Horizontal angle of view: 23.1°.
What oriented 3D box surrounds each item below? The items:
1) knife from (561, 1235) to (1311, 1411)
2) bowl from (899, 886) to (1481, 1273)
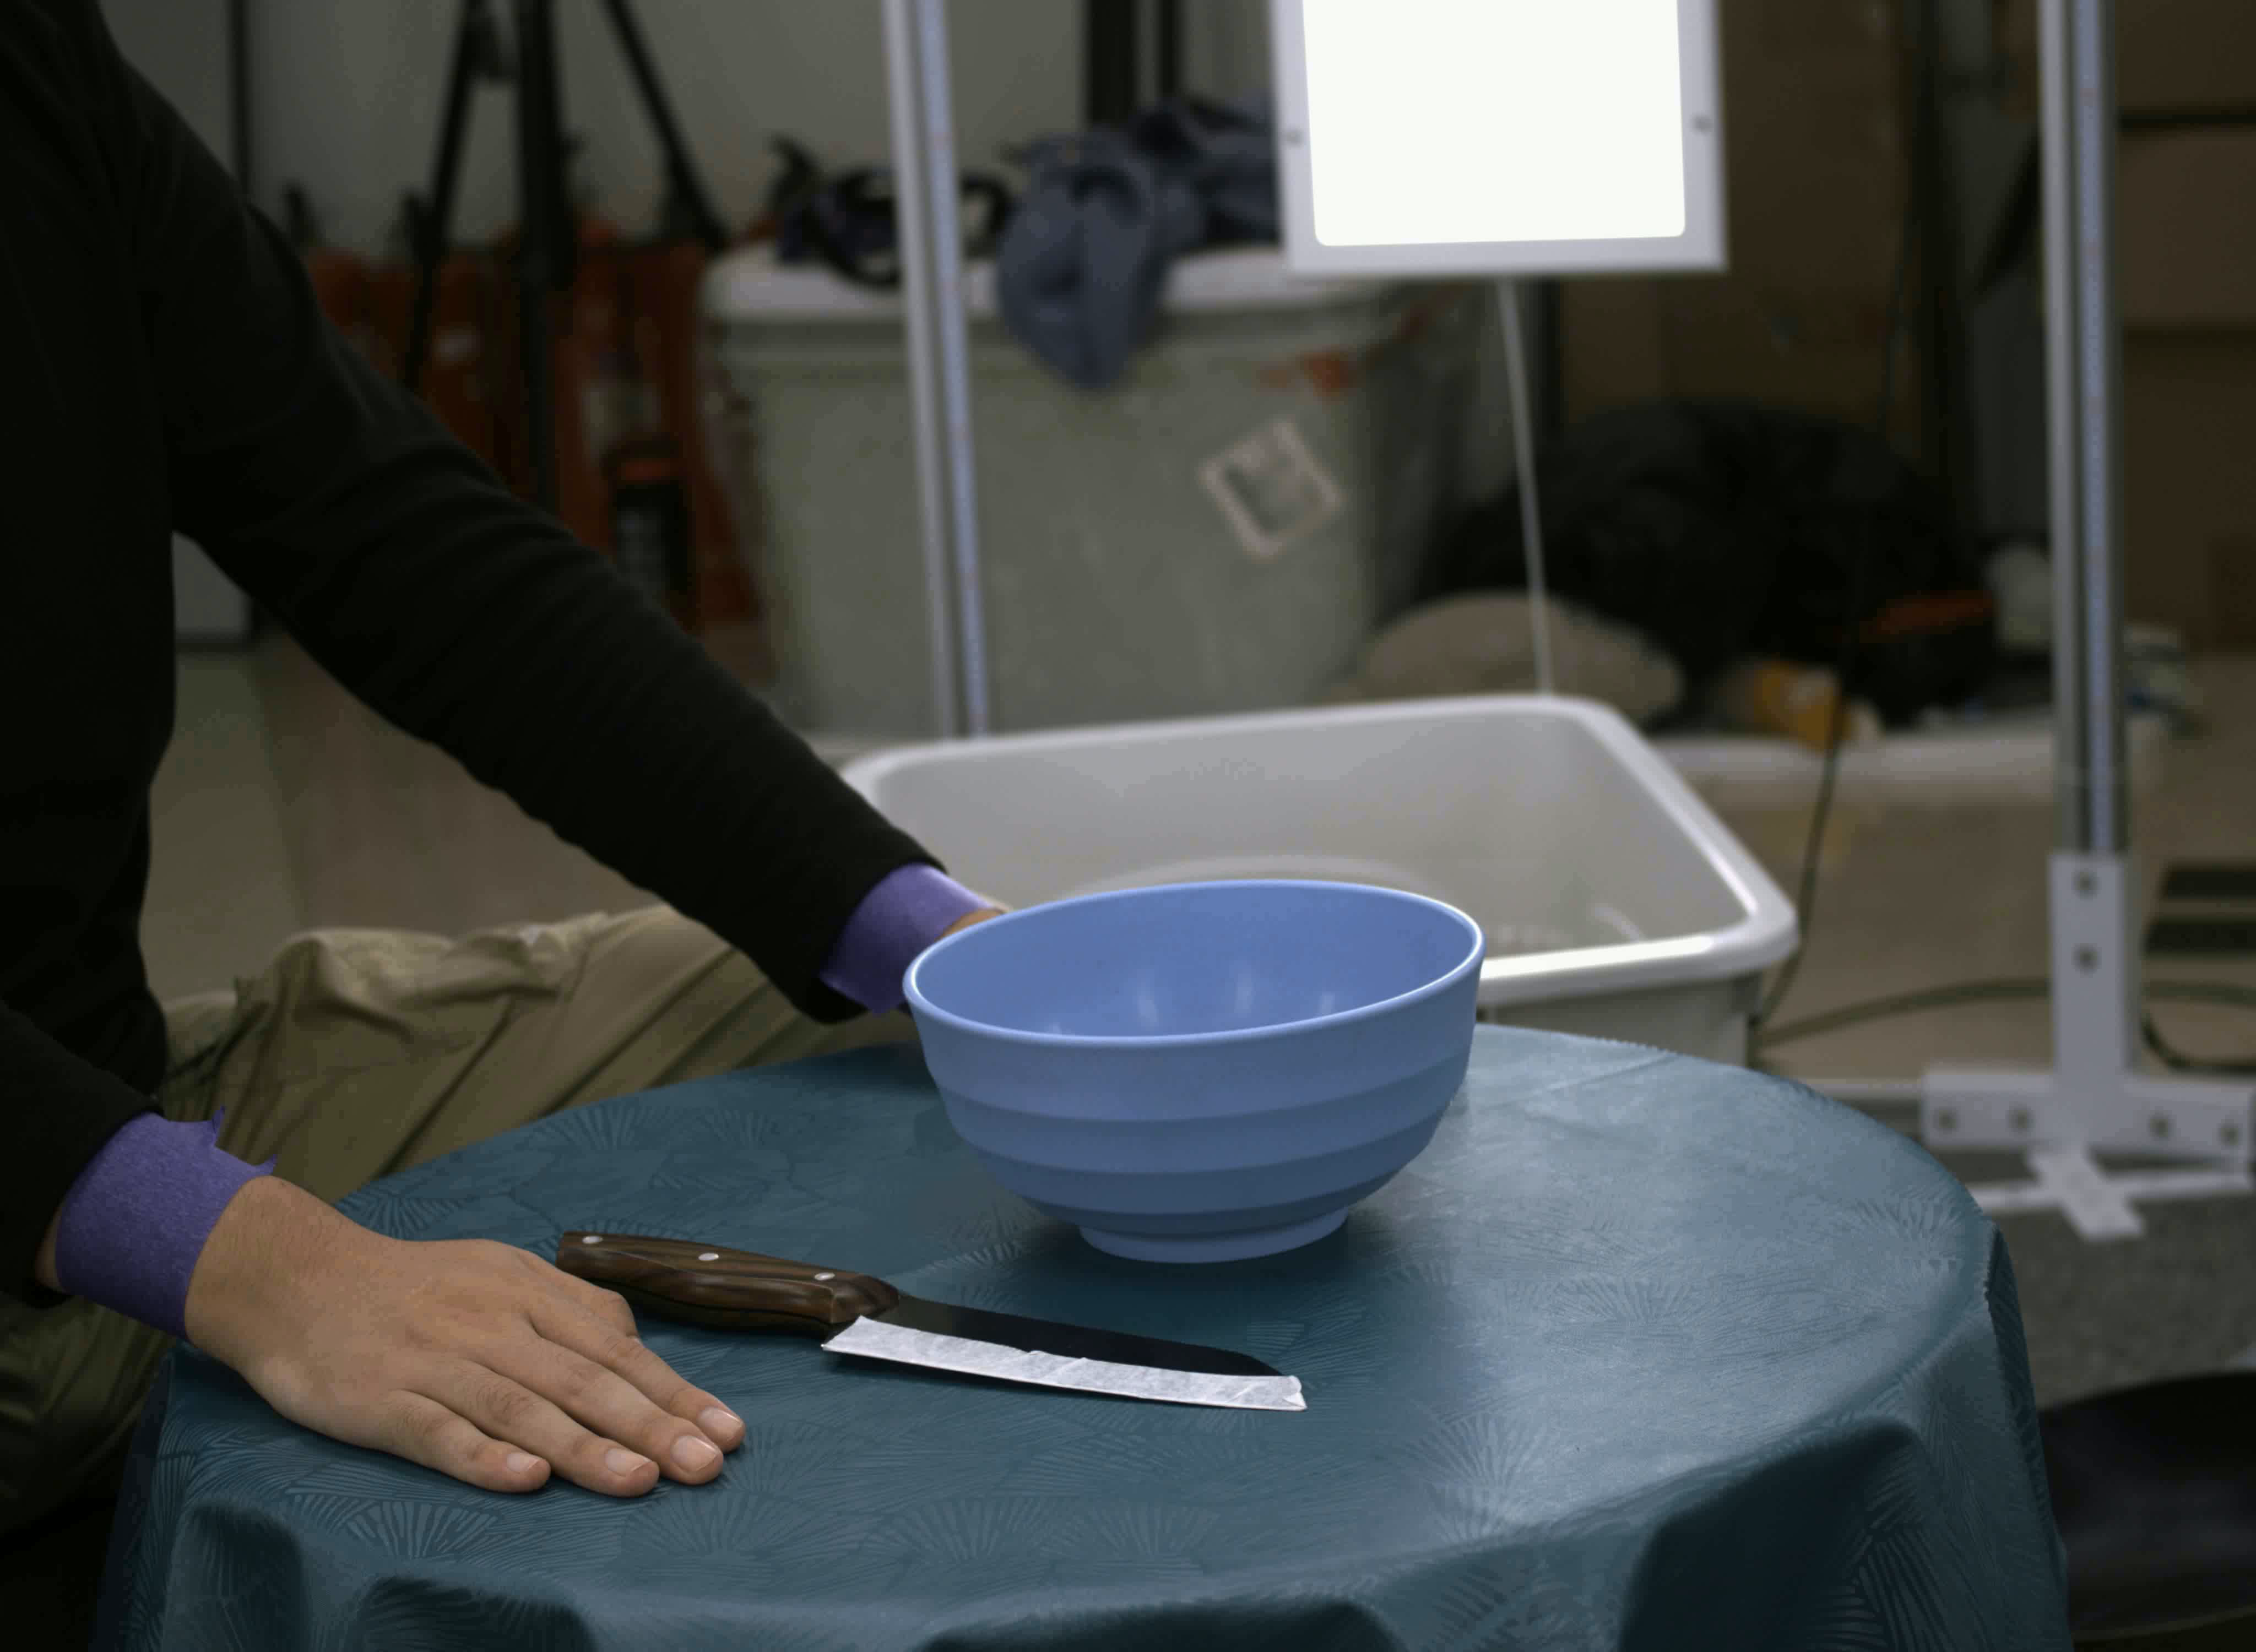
[{"bbox_3d":[-0.066,0.160,1.755,0.295,0.020,0.049,7,23,33],"label":"knife"},{"bbox_3d":[0.026,0.091,1.848,0.196,0.096,0.196,-7,13,0],"label":"bowl"}]
